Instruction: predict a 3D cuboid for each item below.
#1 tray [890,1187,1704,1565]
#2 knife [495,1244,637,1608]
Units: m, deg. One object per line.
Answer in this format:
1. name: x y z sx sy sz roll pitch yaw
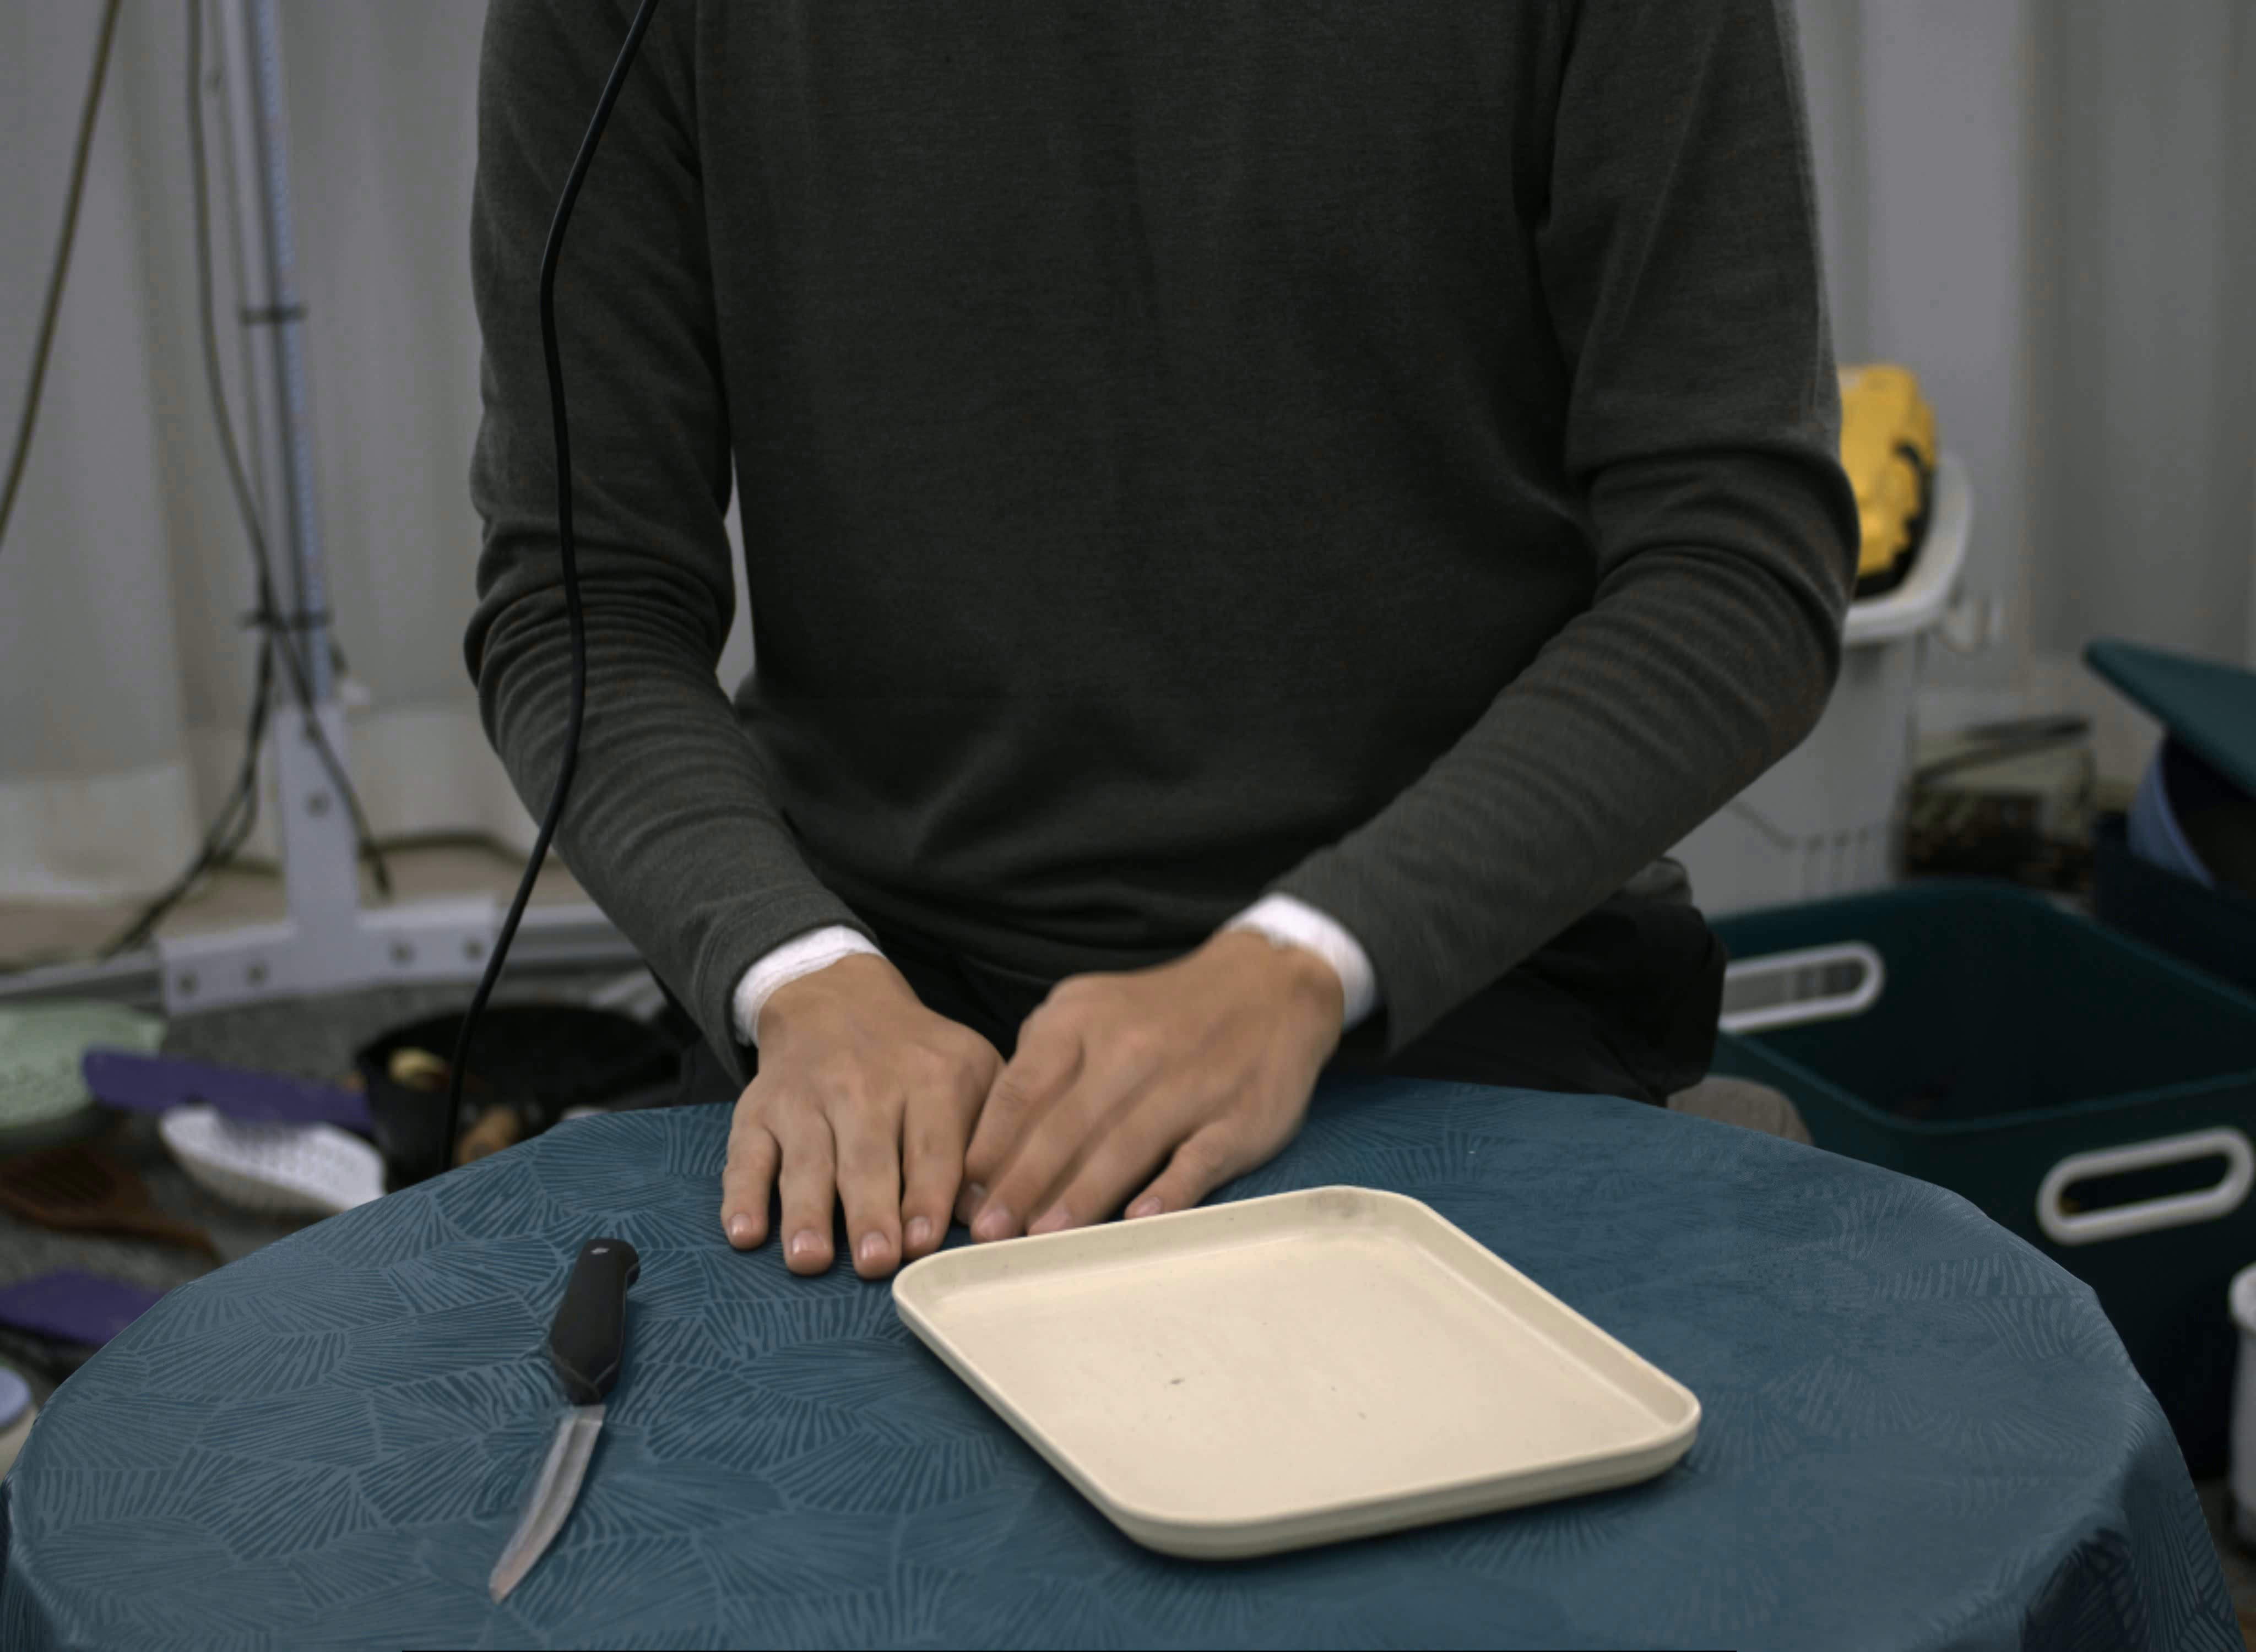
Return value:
1. tray: 0.043 0.152 1.534 0.170 0.017 0.241 -9 16 -19
2. knife: -0.159 0.167 1.529 0.024 0.016 0.240 -3 17 2
